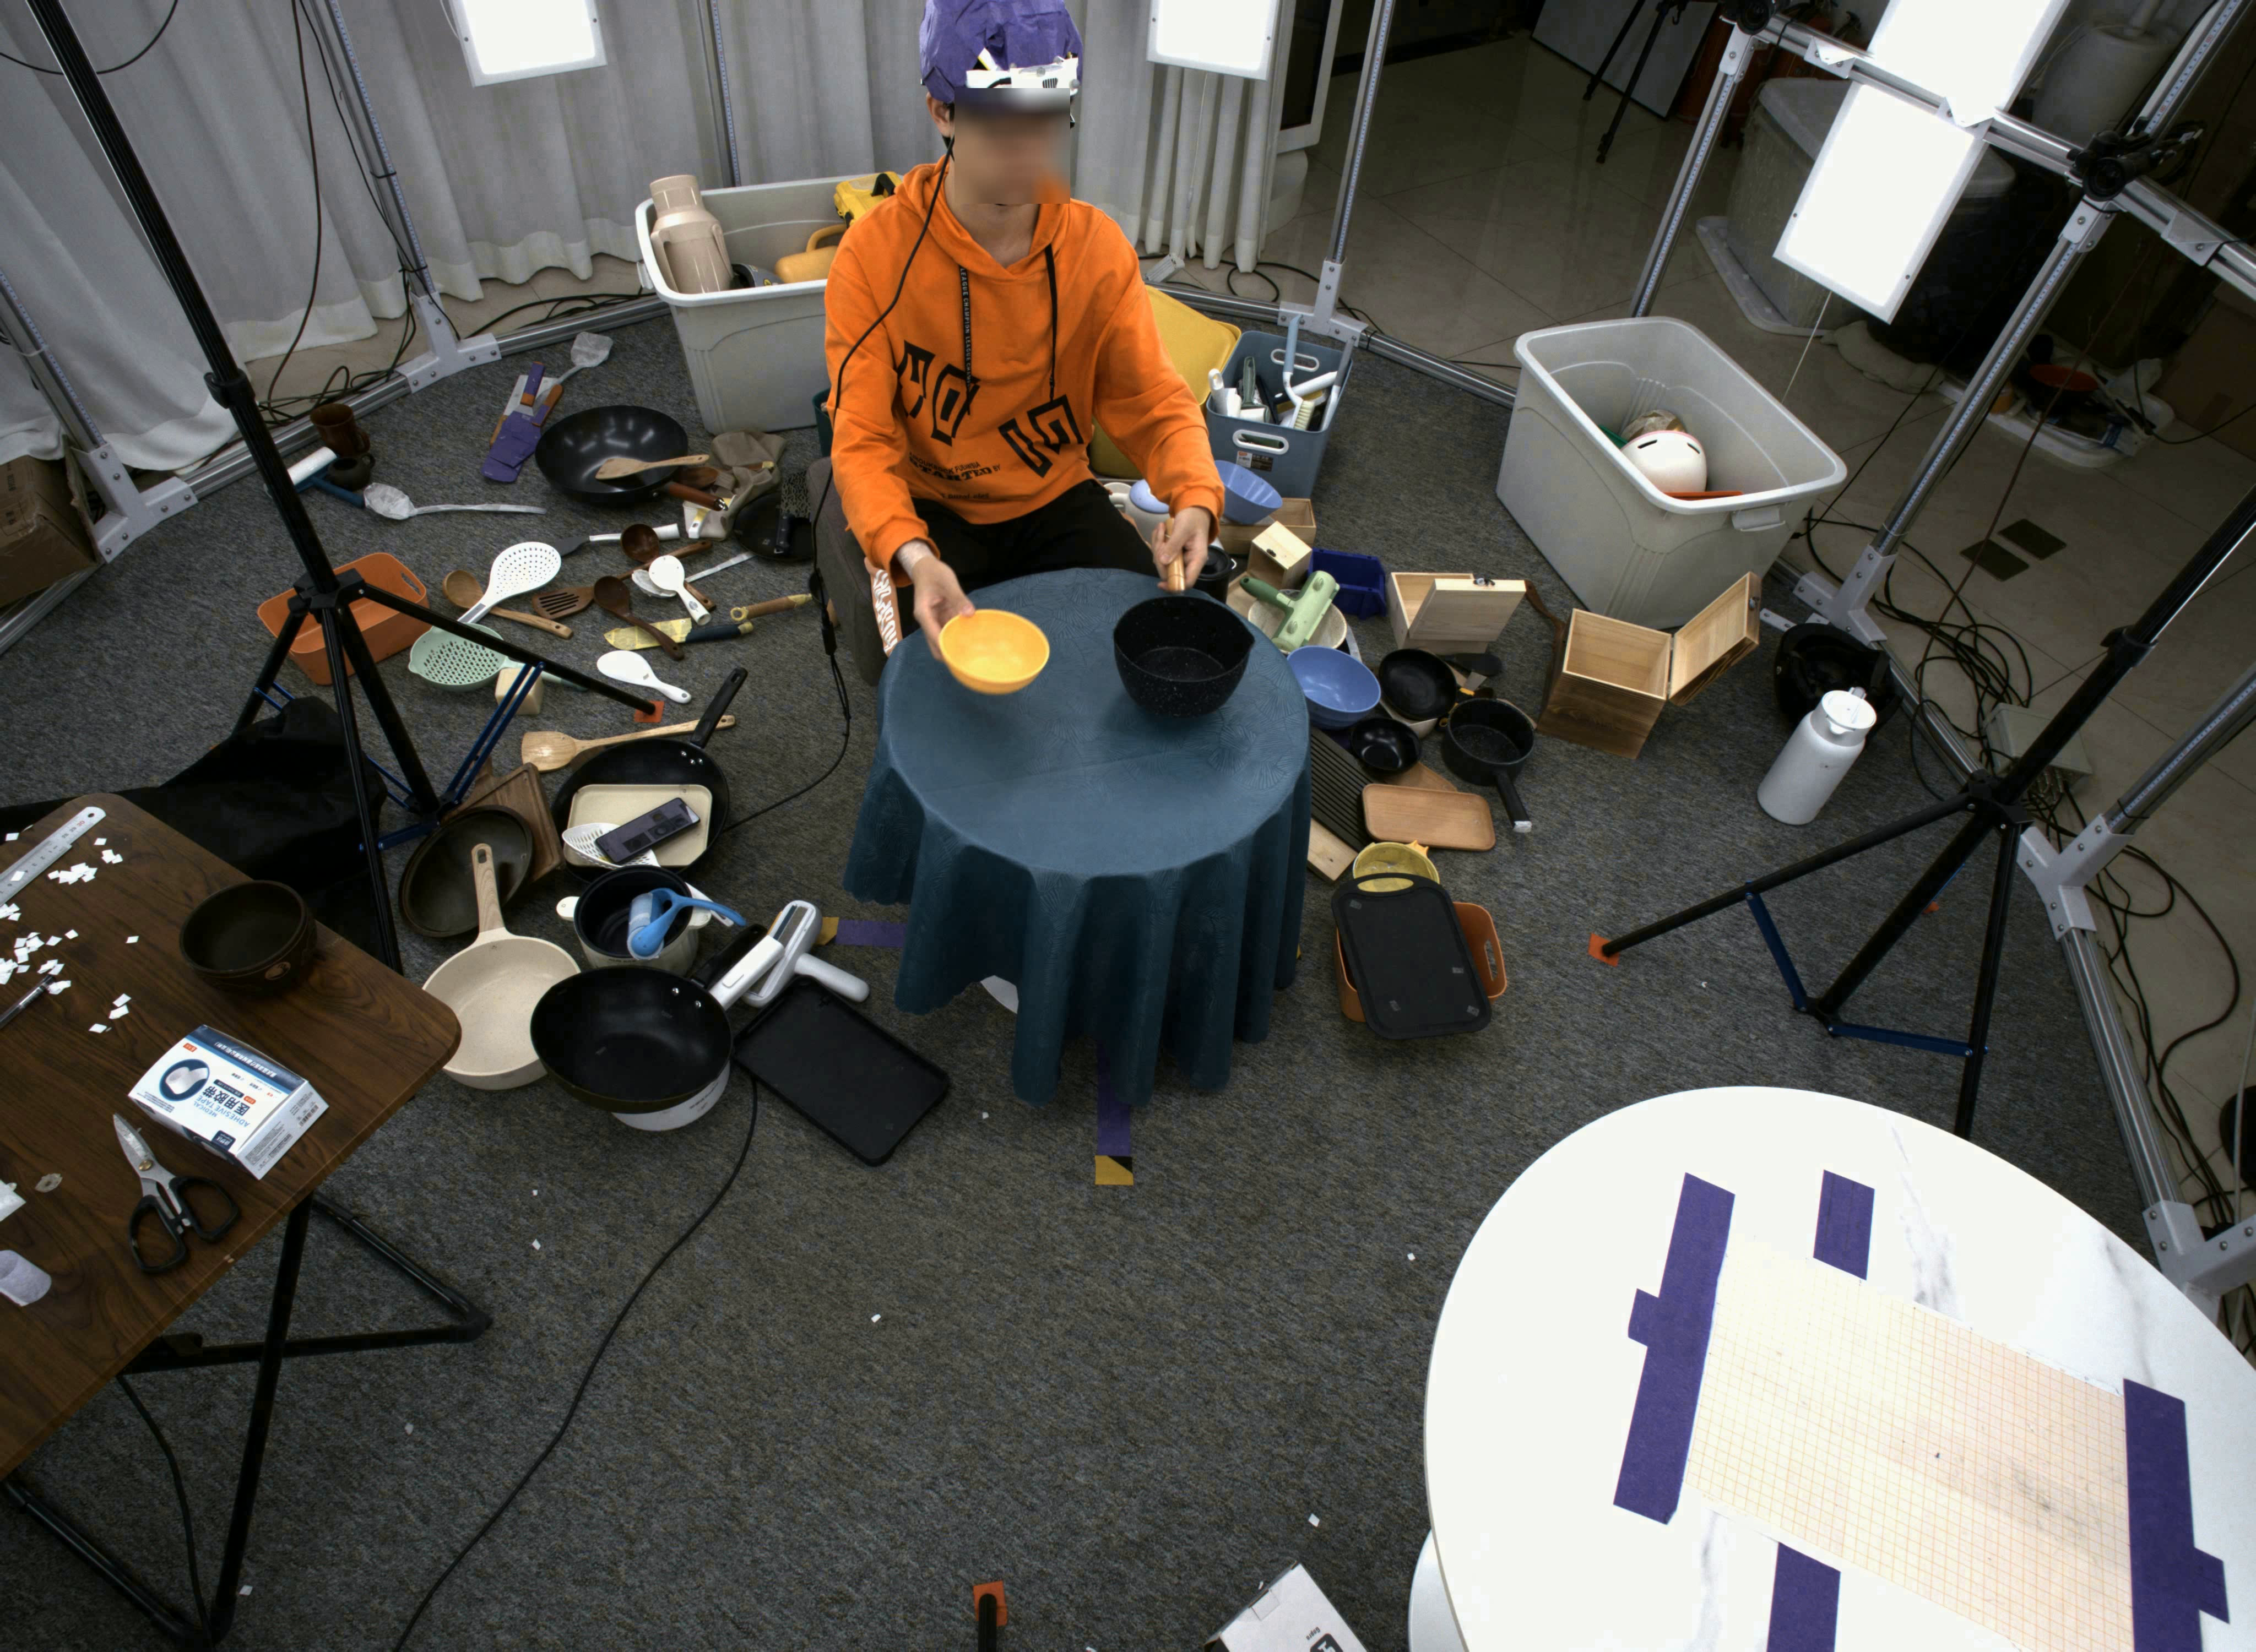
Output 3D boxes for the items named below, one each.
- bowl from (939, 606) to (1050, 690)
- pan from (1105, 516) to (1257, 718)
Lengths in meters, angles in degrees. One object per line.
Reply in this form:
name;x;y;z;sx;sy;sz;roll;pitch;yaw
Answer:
bowl;-0.179;-0.223;1.701;0.145;0.059;0.149;8;44;-8
pan;0.068;-0.297;1.823;0.207;0.105;0.351;-1;48;-3
